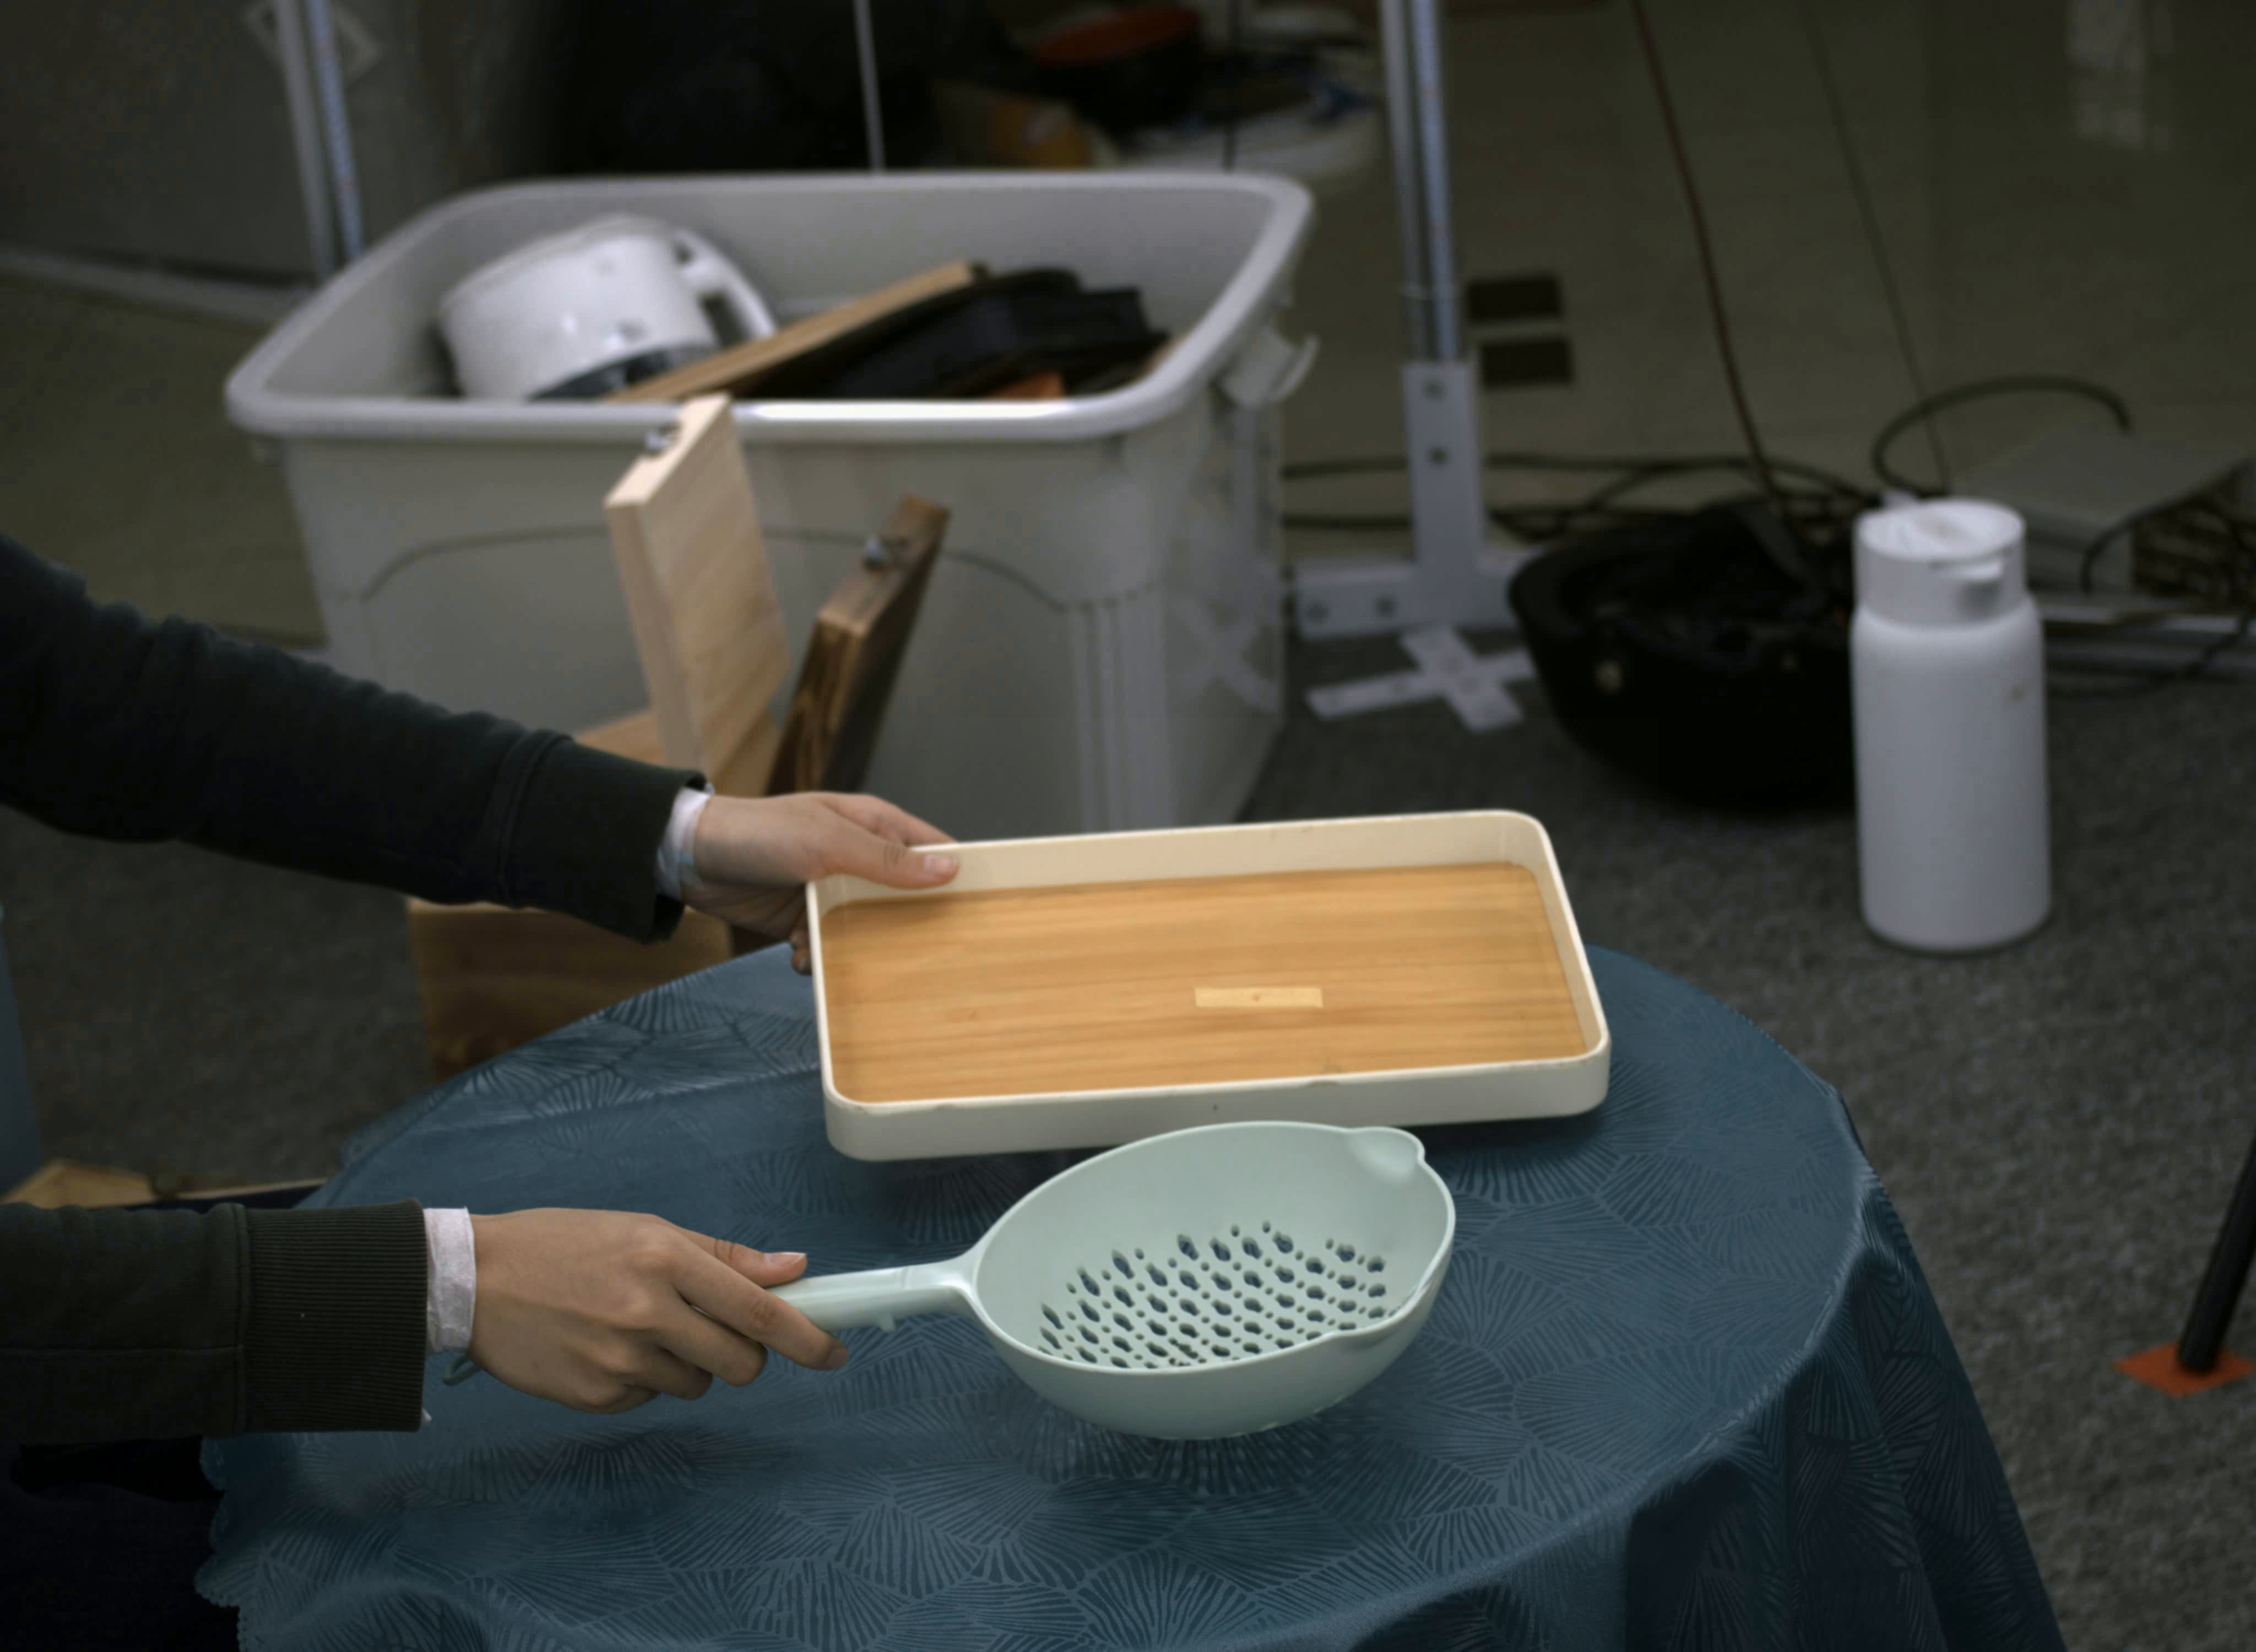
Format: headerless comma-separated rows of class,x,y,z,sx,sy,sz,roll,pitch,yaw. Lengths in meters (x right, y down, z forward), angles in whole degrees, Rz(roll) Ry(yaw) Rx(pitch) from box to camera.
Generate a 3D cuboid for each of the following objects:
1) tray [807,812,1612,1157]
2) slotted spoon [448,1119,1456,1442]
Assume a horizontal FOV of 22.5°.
tray,0.028,0.060,2.207,0.300,0.028,0.188,-3,31,-4
slotted spoon,-0.065,0.167,1.991,0.358,0.076,0.167,1,26,4
